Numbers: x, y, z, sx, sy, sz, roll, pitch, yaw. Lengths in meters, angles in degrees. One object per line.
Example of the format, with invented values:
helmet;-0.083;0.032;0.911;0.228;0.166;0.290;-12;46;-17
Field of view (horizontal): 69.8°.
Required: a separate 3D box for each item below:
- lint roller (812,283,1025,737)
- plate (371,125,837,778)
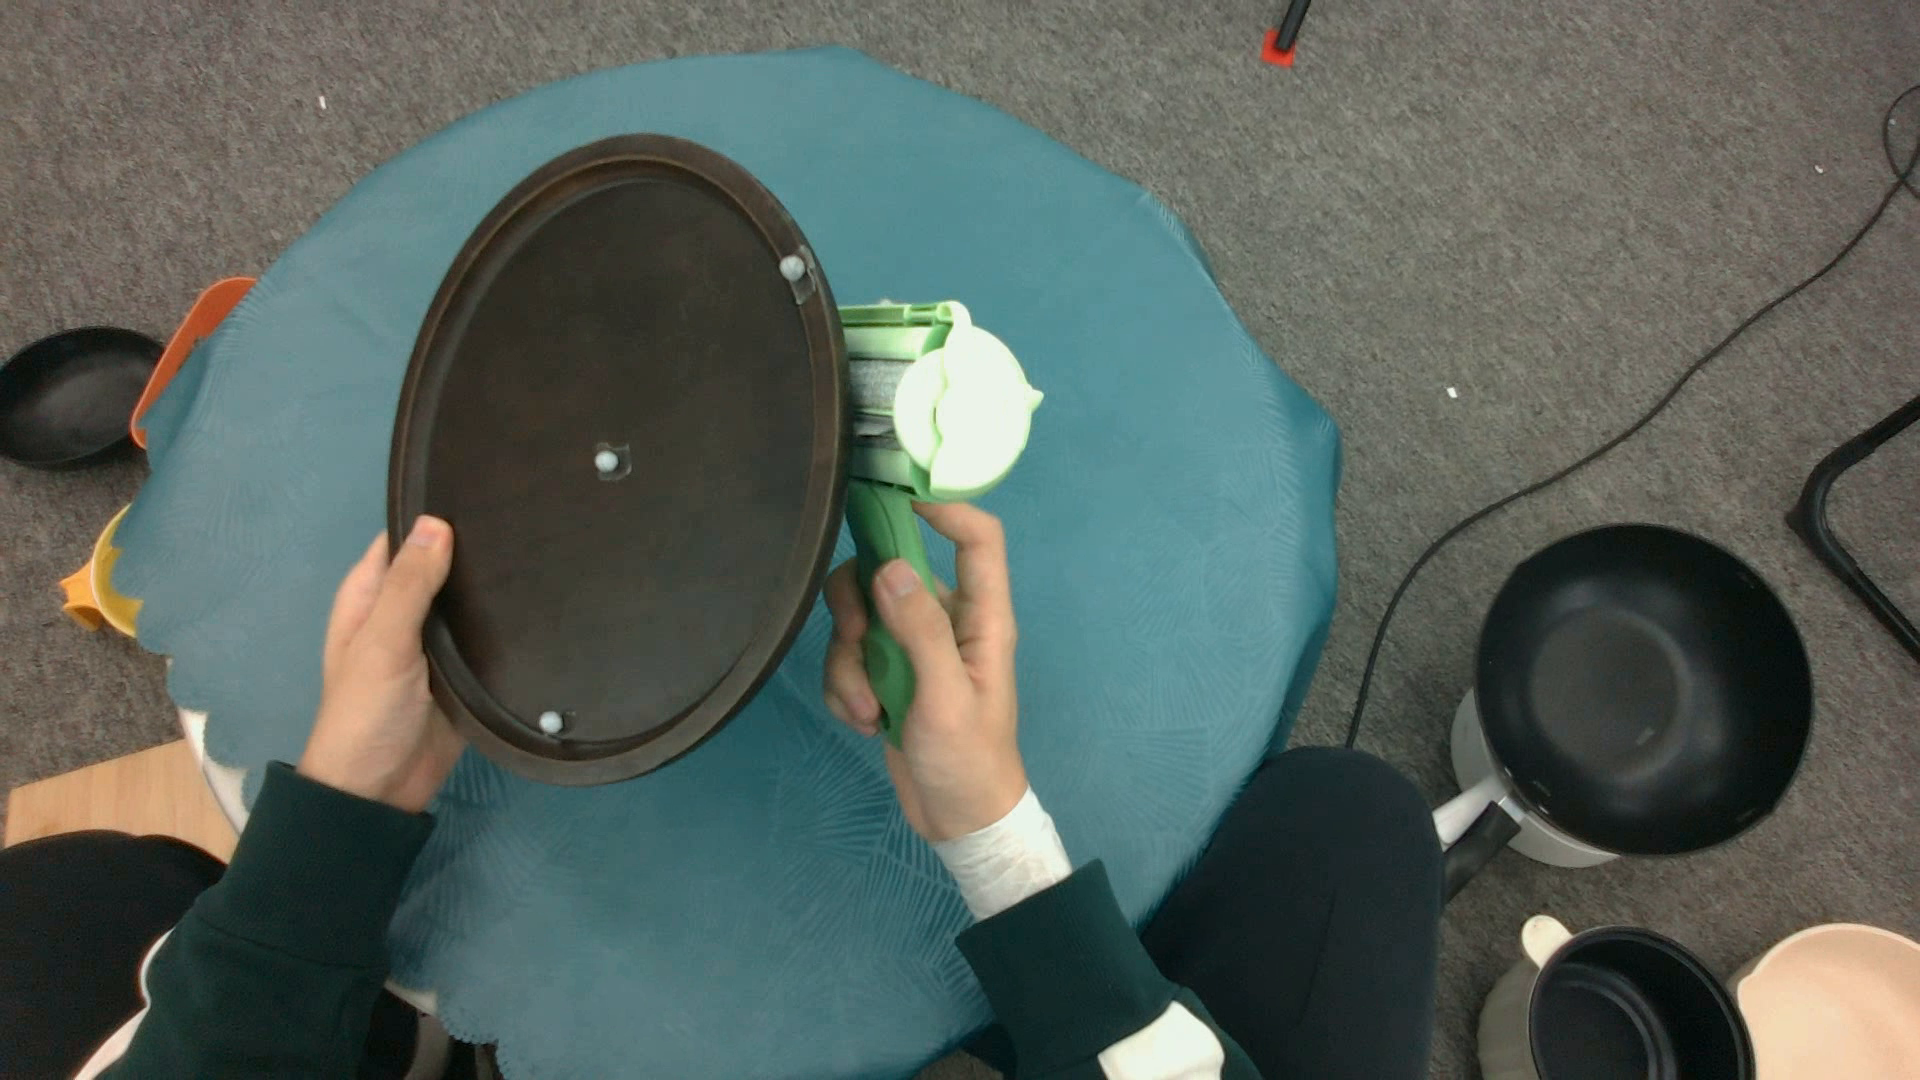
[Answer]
lint roller;-0.025;-0.014;0.563;0.082;0.198;0.183;-28;110;-24
plate;-0.148;-0.036;0.541;0.254;0.029;0.255;-4;81;31
